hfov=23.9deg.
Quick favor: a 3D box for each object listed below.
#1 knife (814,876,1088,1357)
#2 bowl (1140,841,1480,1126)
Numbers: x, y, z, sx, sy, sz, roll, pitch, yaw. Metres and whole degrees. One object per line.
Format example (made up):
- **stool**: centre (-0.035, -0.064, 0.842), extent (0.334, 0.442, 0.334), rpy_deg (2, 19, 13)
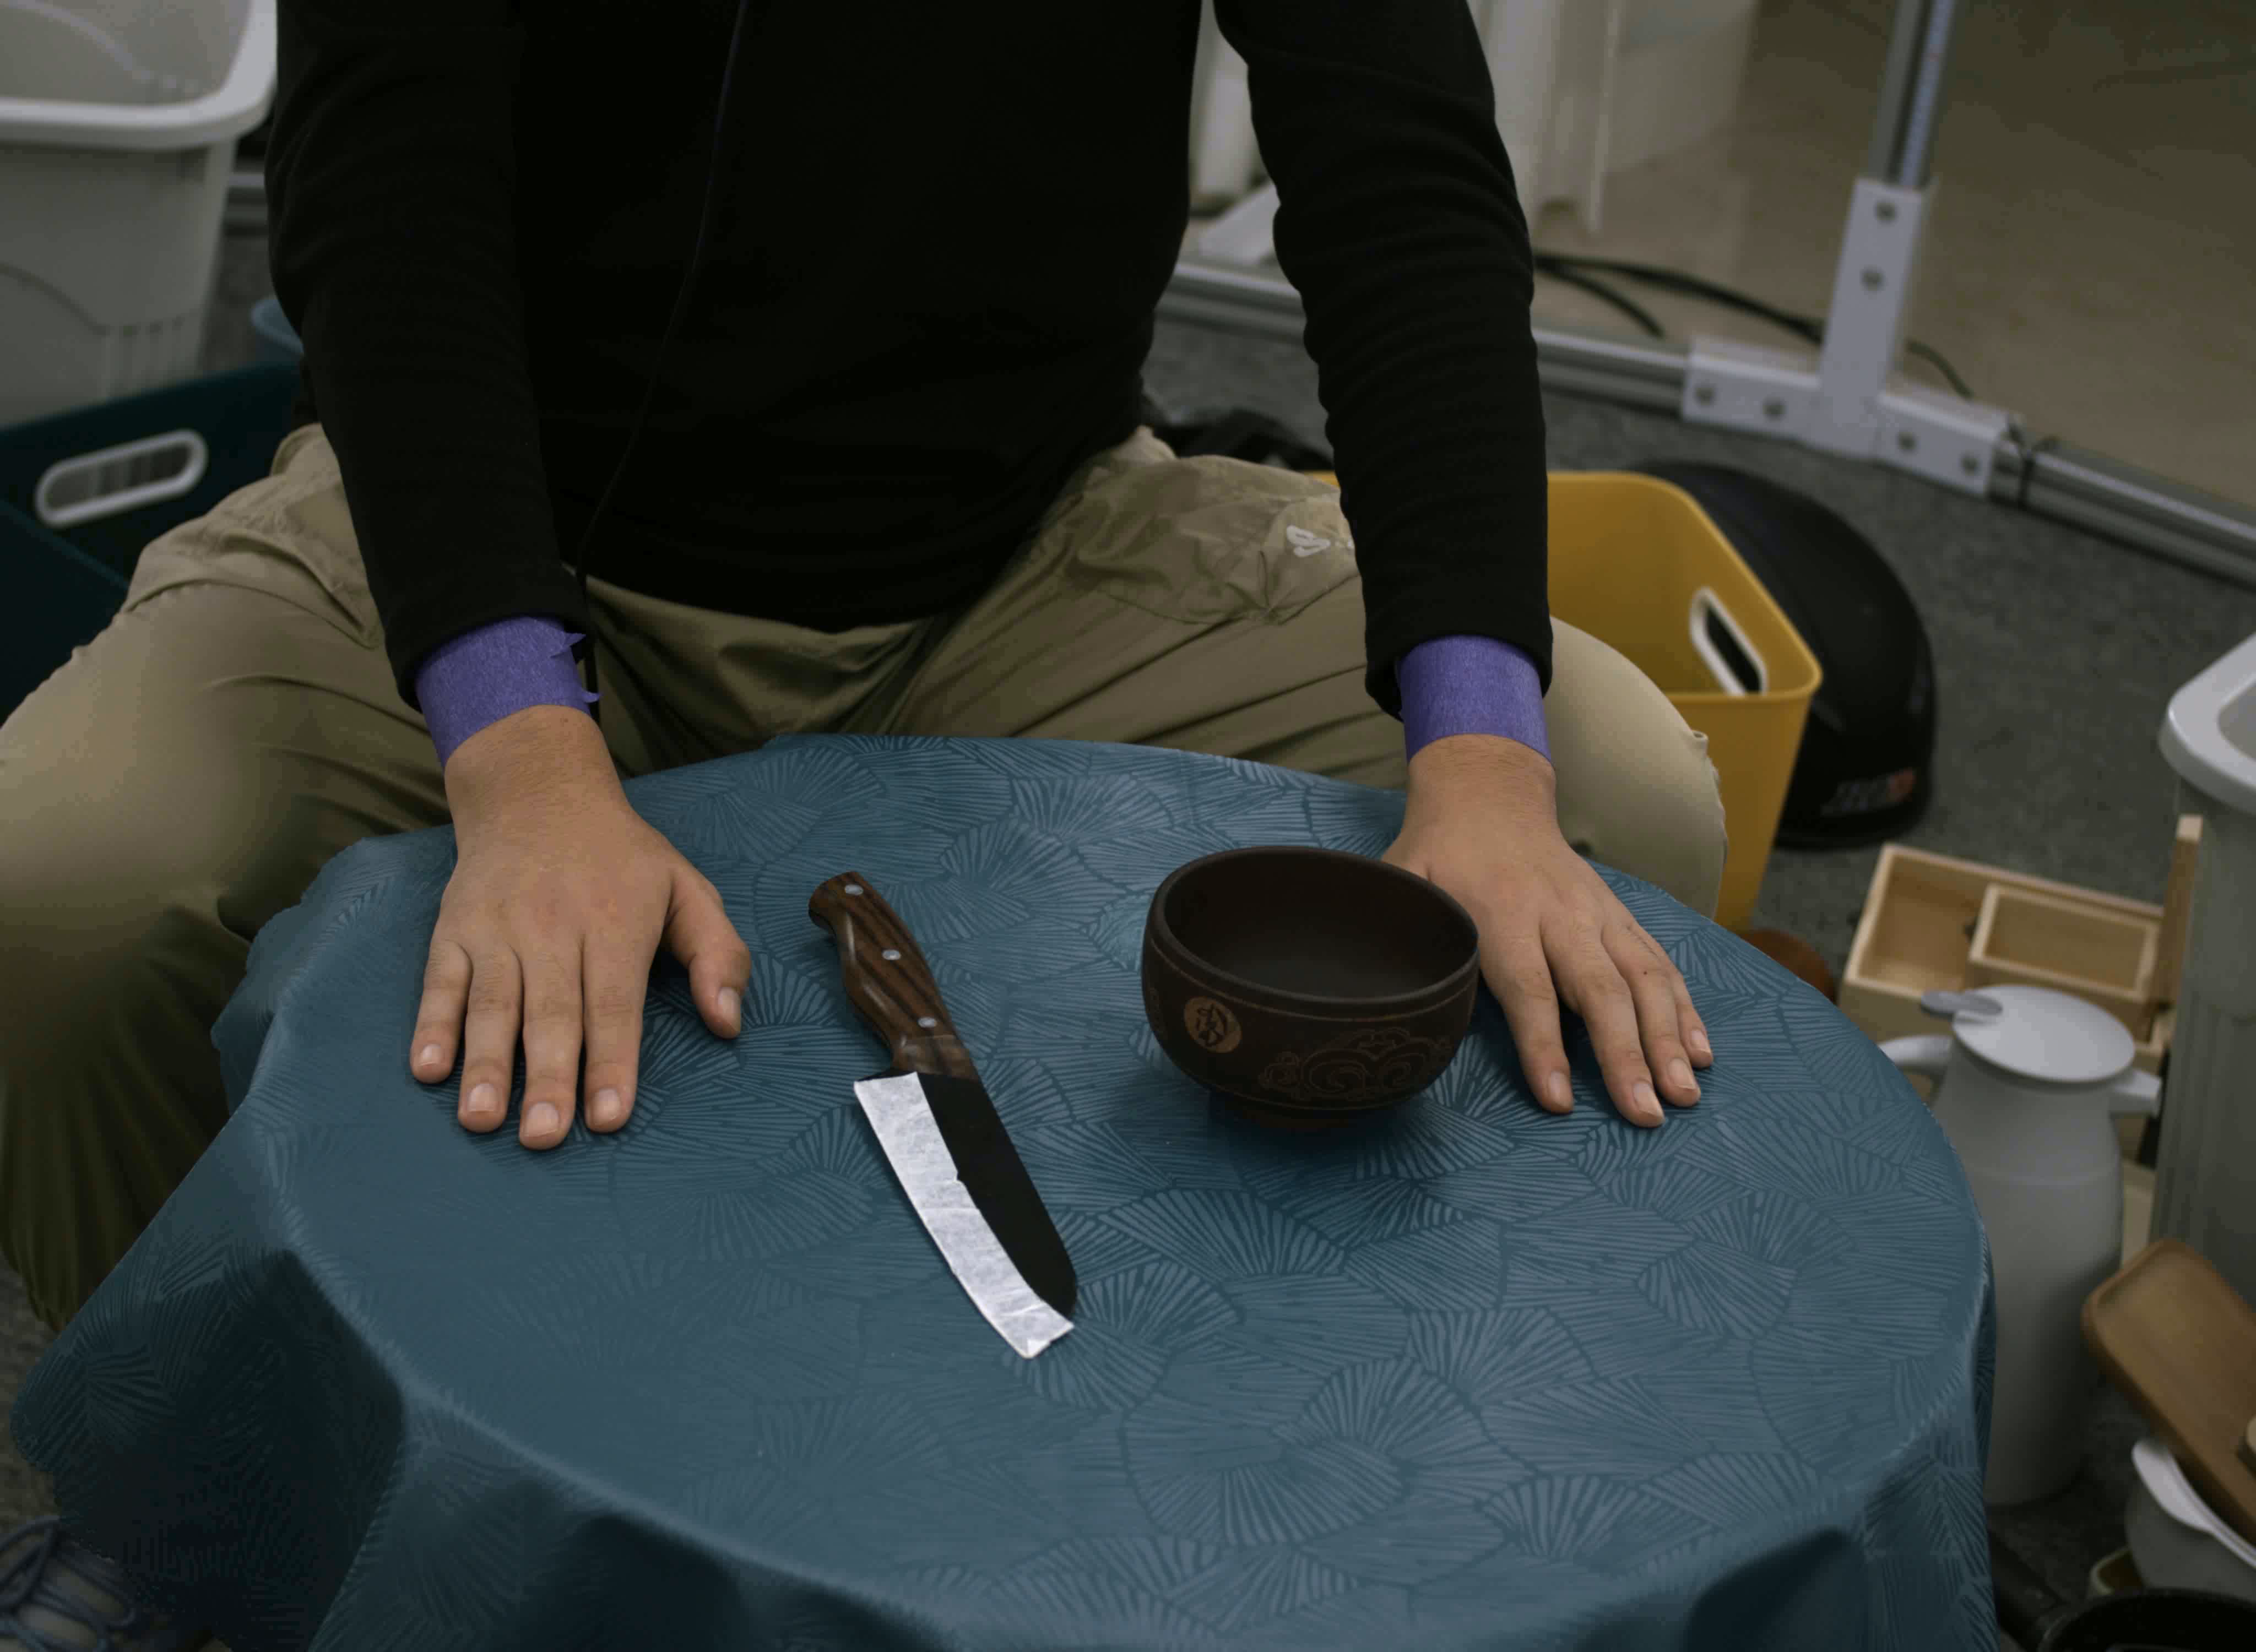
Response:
- **knife**: centre (-0.065, 0.098, 1.826), extent (0.050, 0.020, 0.292), rpy_deg (-6, 32, -14)
- **bowl**: centre (0.061, 0.062, 1.861), extent (0.117, 0.069, 0.119), rpy_deg (5, 26, -3)
